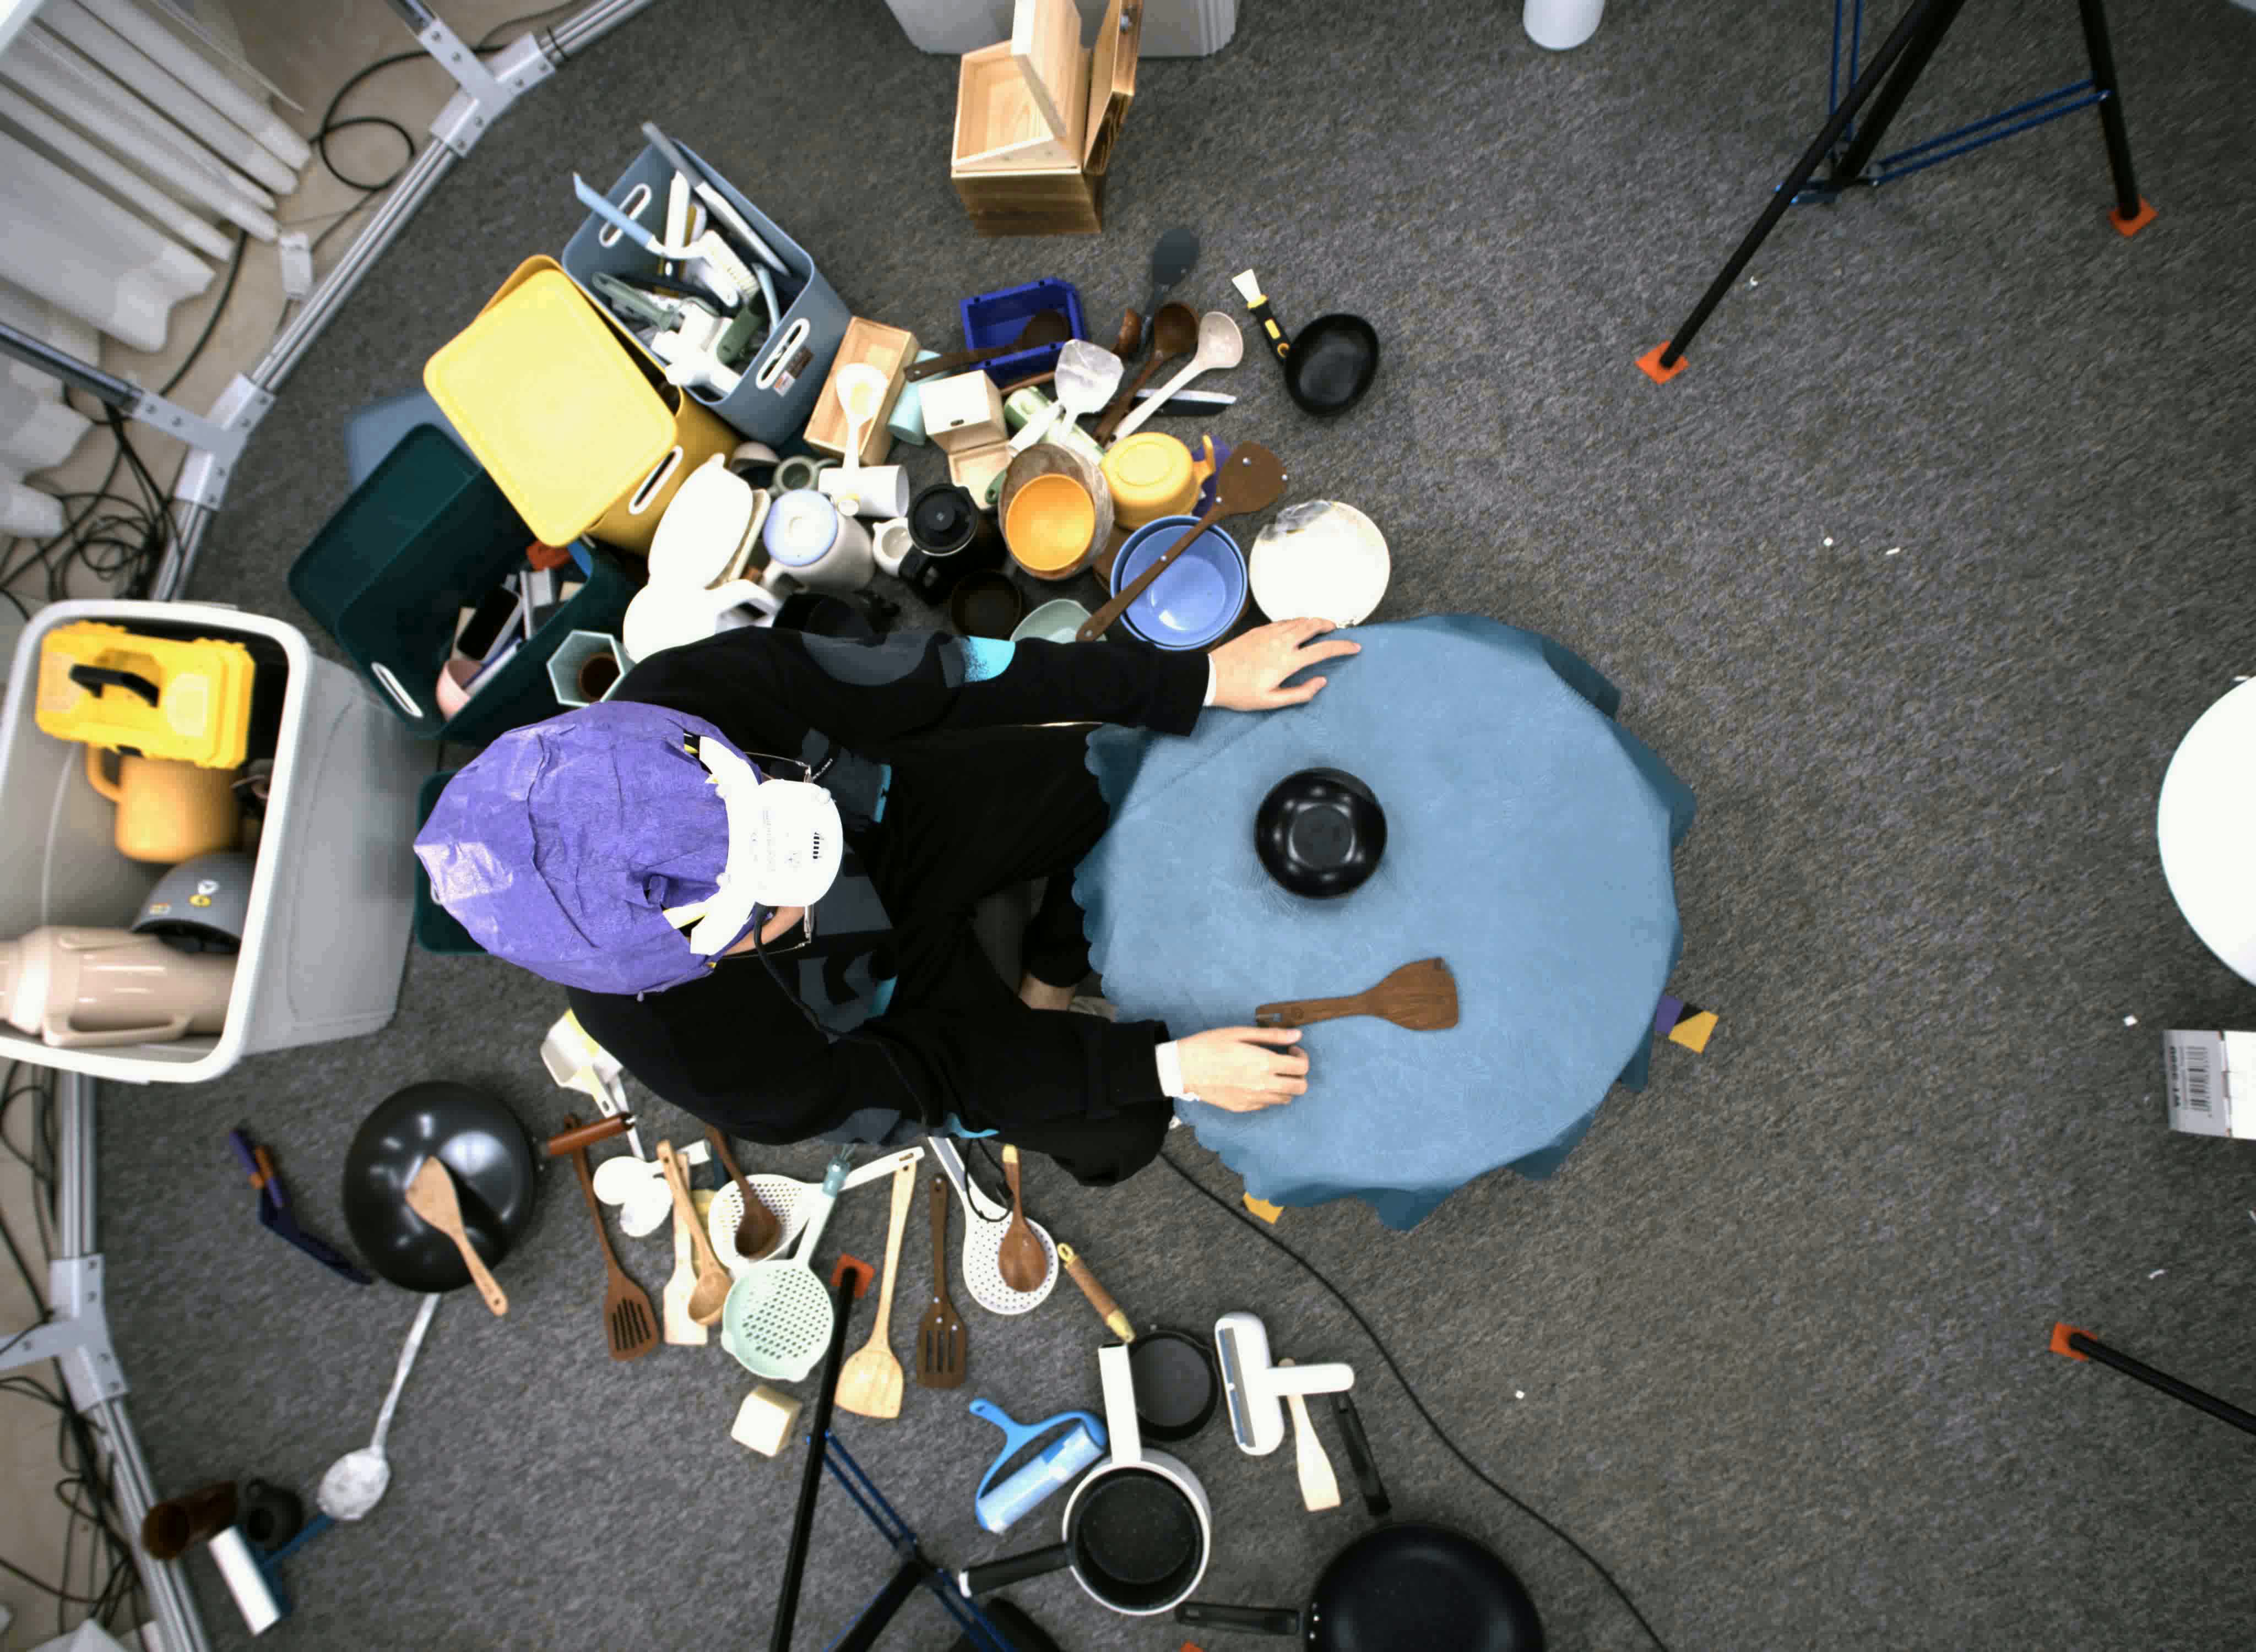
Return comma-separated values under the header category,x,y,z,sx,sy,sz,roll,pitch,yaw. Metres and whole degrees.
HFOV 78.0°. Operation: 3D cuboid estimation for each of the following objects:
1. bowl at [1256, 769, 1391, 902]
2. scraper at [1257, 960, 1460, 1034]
category,x,y,z,sx,sy,sz,roll,pitch,yaw
bowl,0.206,0.010,1.456,0.140,0.050,0.139,0,88,10
scraper,0.241,0.190,1.458,0.212,0.011,0.075,-9,83,10
